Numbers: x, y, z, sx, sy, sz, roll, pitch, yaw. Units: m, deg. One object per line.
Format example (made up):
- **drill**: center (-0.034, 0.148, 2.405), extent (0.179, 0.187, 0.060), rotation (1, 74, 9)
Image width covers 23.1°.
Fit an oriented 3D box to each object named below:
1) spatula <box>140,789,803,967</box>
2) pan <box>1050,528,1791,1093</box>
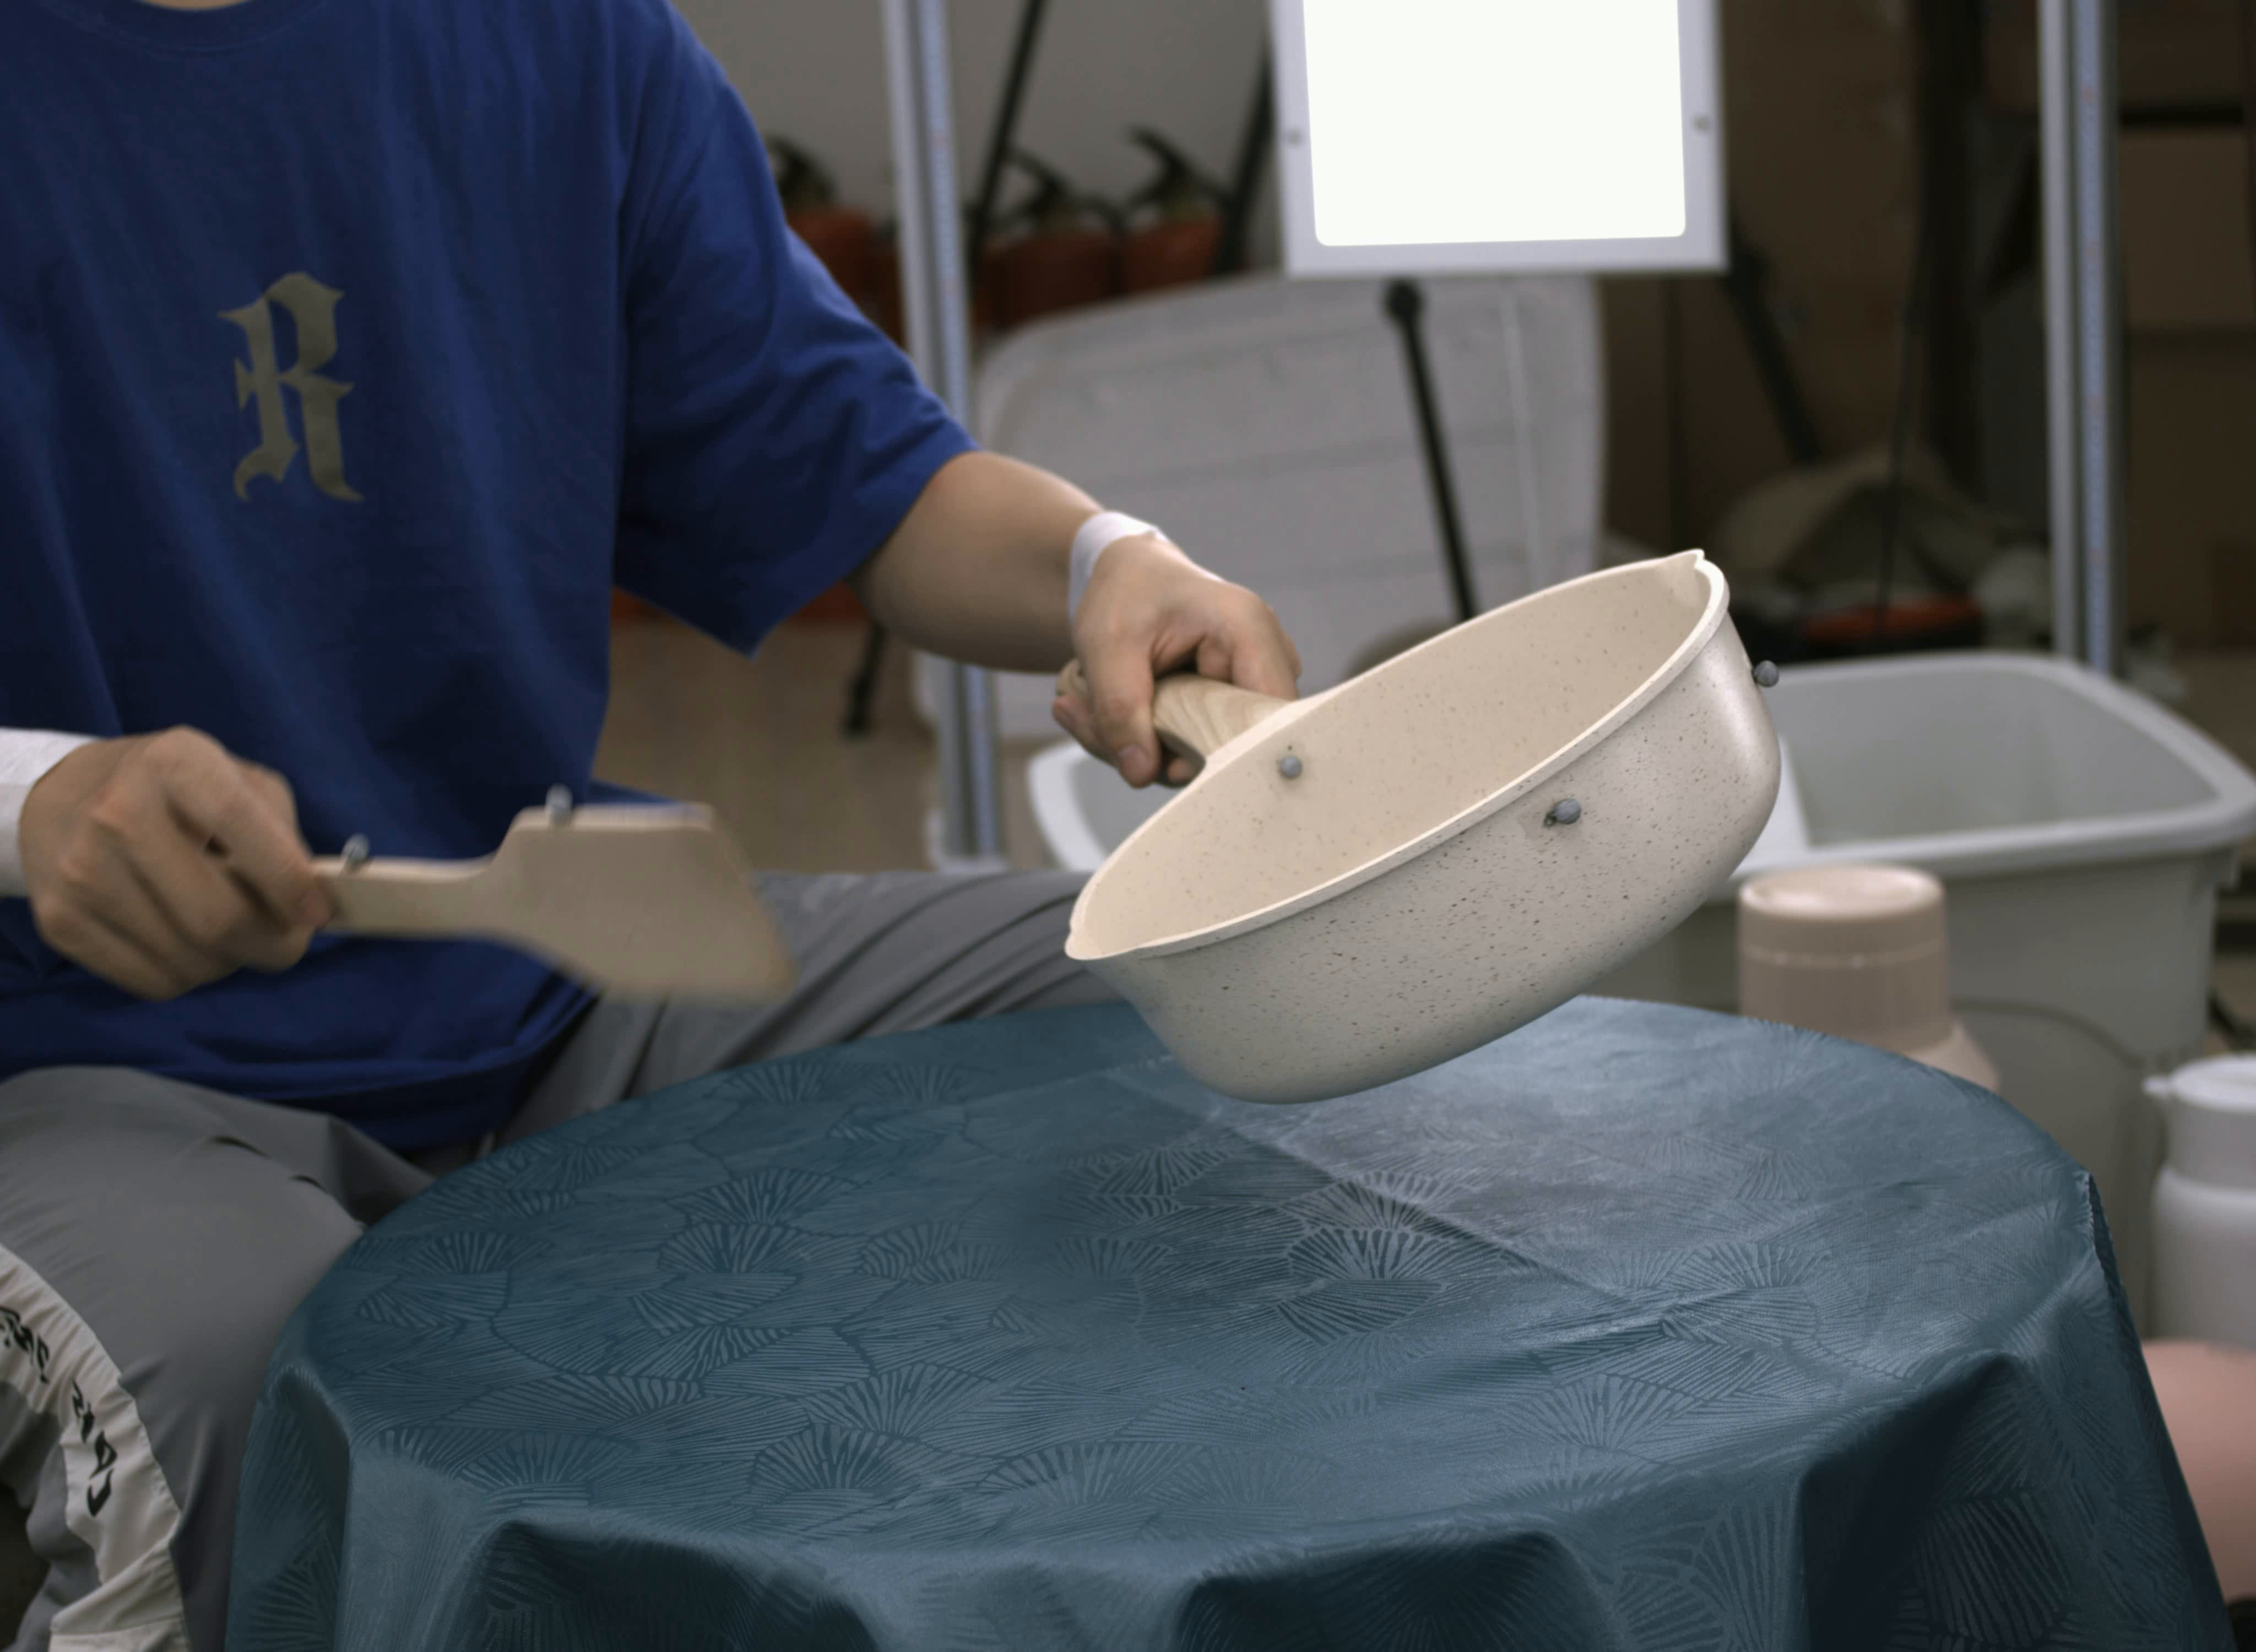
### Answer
- **spatula**: center (-0.225, 0.016, 1.789), extent (0.299, 0.072, 0.010), rotation (0, 42, 43)
- **pan**: center (0.078, -0.008, 1.946), extent (0.260, 0.102, 0.441), rotation (-35, 13, -14)
